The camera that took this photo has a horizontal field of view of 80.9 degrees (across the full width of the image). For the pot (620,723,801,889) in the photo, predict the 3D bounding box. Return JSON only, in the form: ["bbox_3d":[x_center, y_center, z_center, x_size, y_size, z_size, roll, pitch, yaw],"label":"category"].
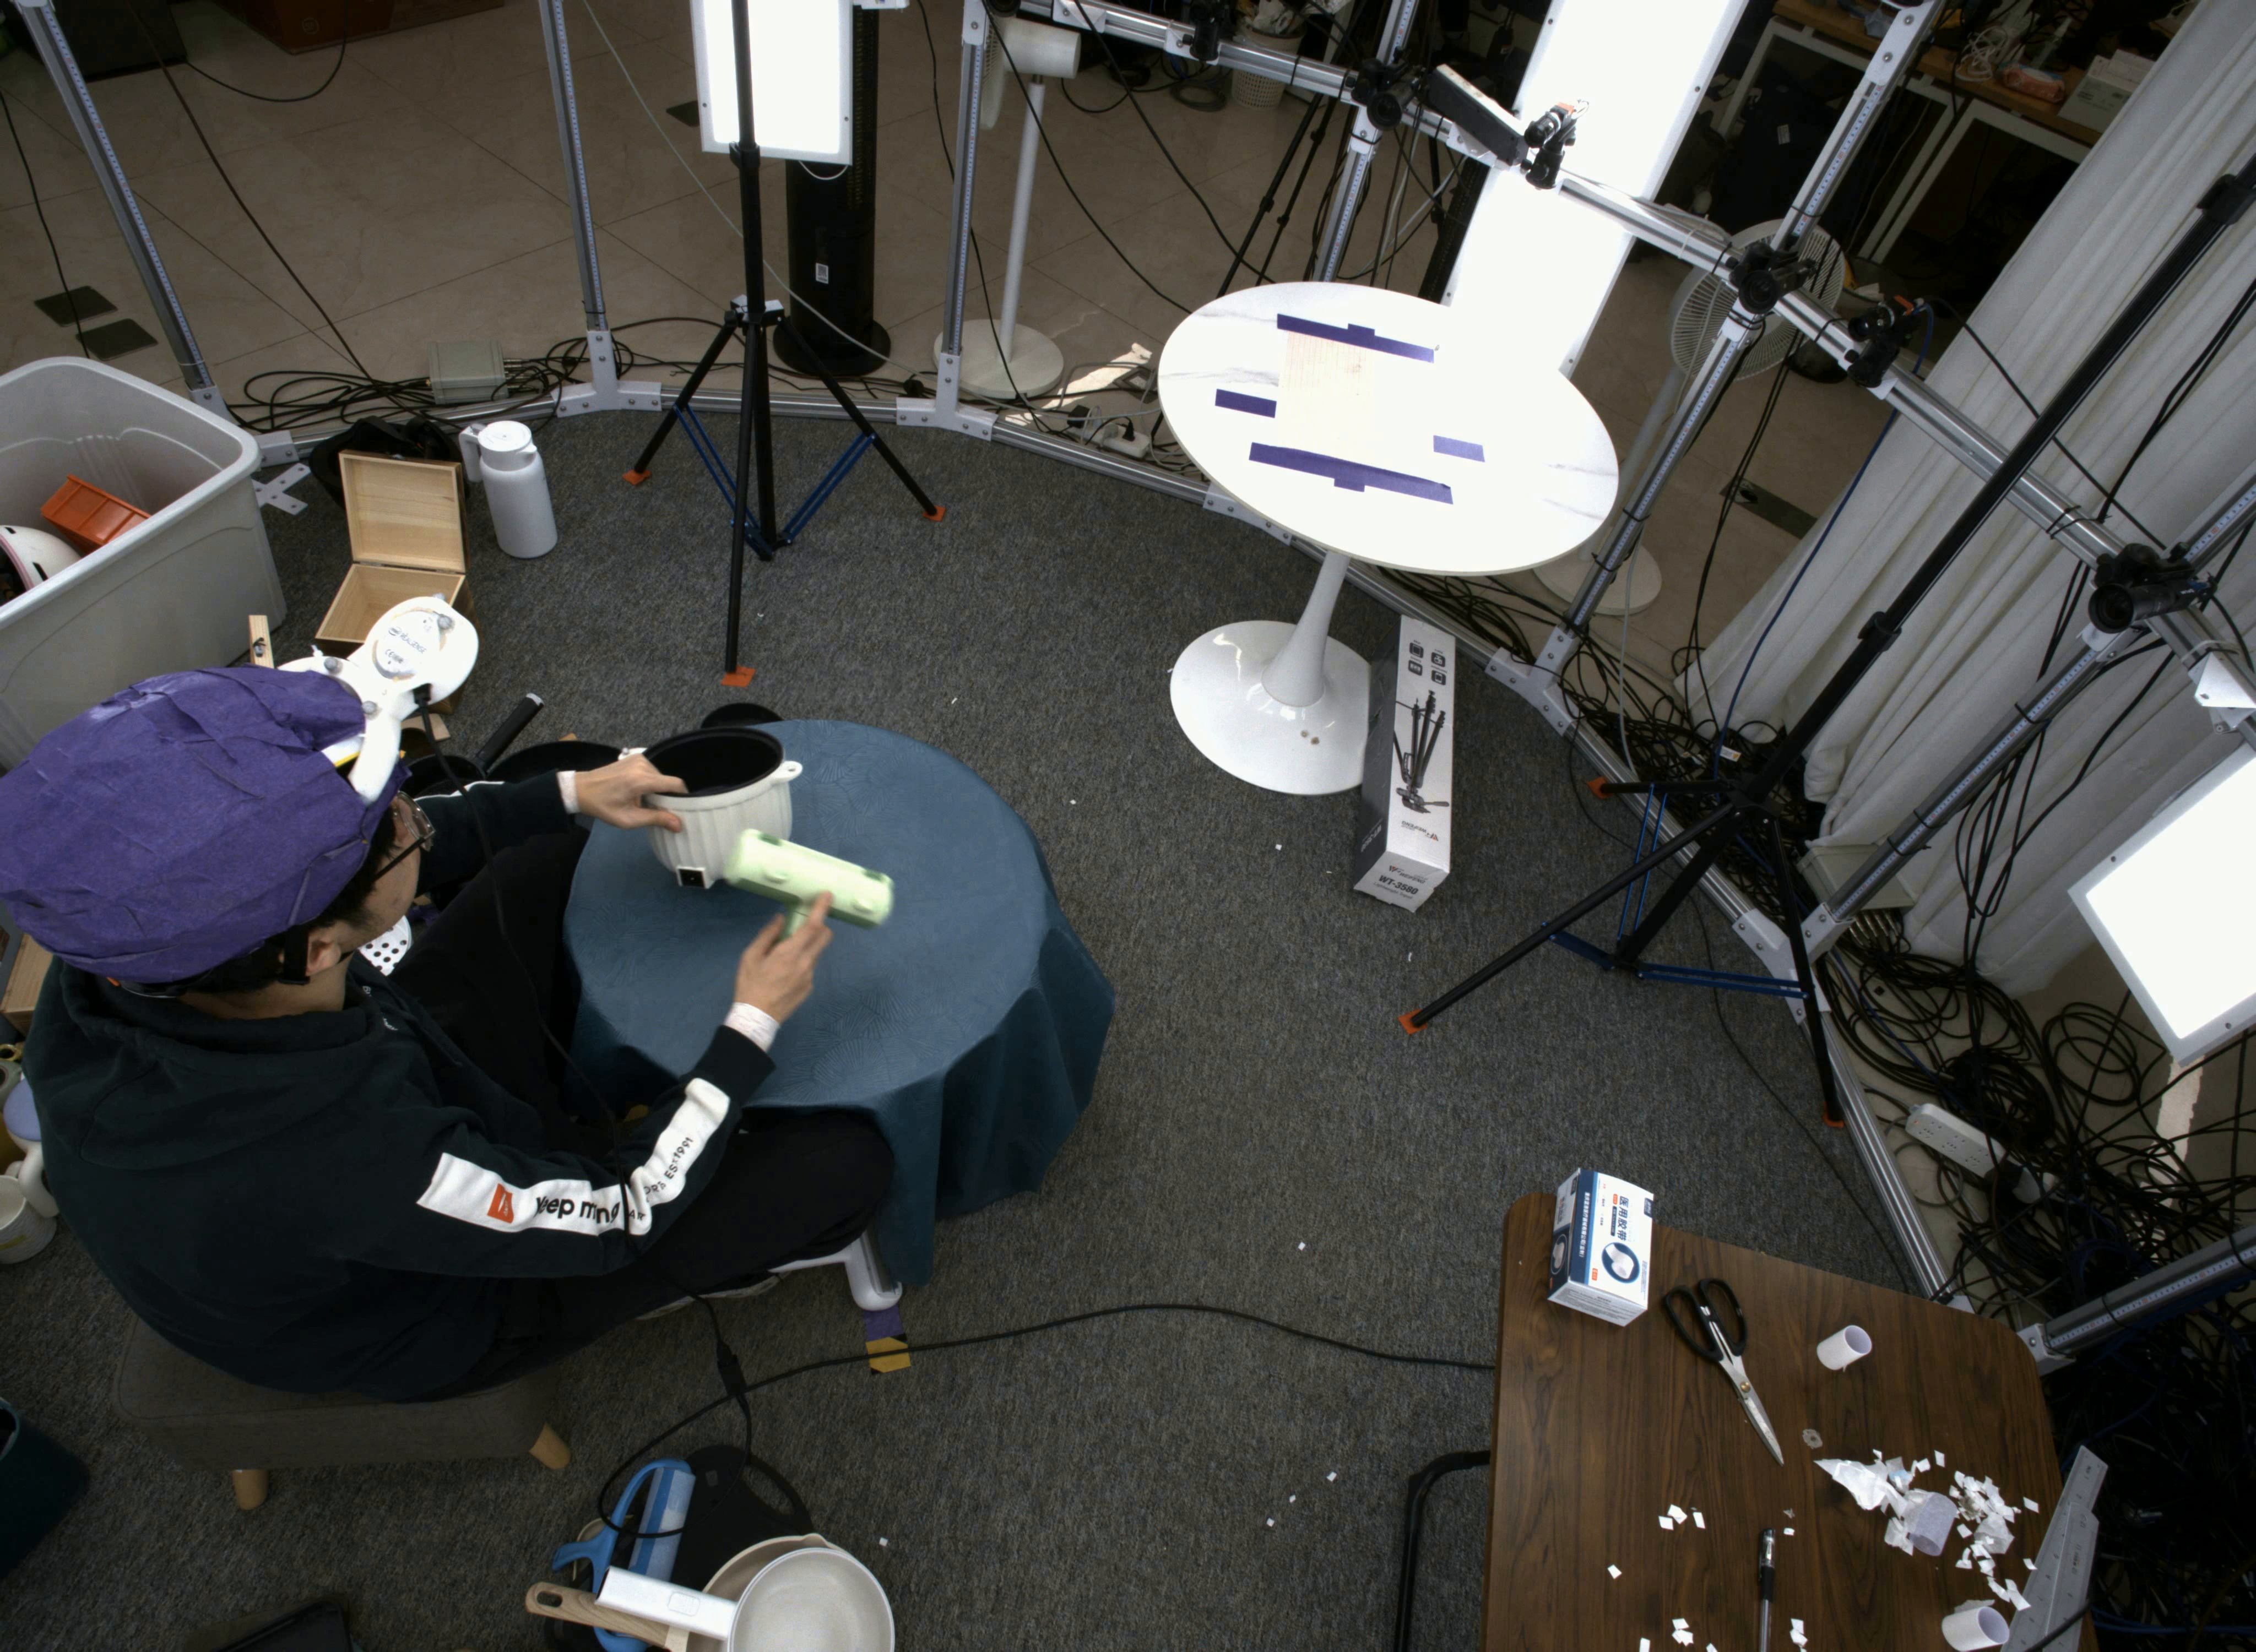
[{"bbox_3d":[-0.509,-0.029,1.604,0.236,0.147,0.188,6,35,7],"label":"pot"}]

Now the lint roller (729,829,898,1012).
[{"bbox_3d":[-0.369,0.121,1.485,0.204,0.080,0.183,25,71,-36],"label":"lint roller"}]
